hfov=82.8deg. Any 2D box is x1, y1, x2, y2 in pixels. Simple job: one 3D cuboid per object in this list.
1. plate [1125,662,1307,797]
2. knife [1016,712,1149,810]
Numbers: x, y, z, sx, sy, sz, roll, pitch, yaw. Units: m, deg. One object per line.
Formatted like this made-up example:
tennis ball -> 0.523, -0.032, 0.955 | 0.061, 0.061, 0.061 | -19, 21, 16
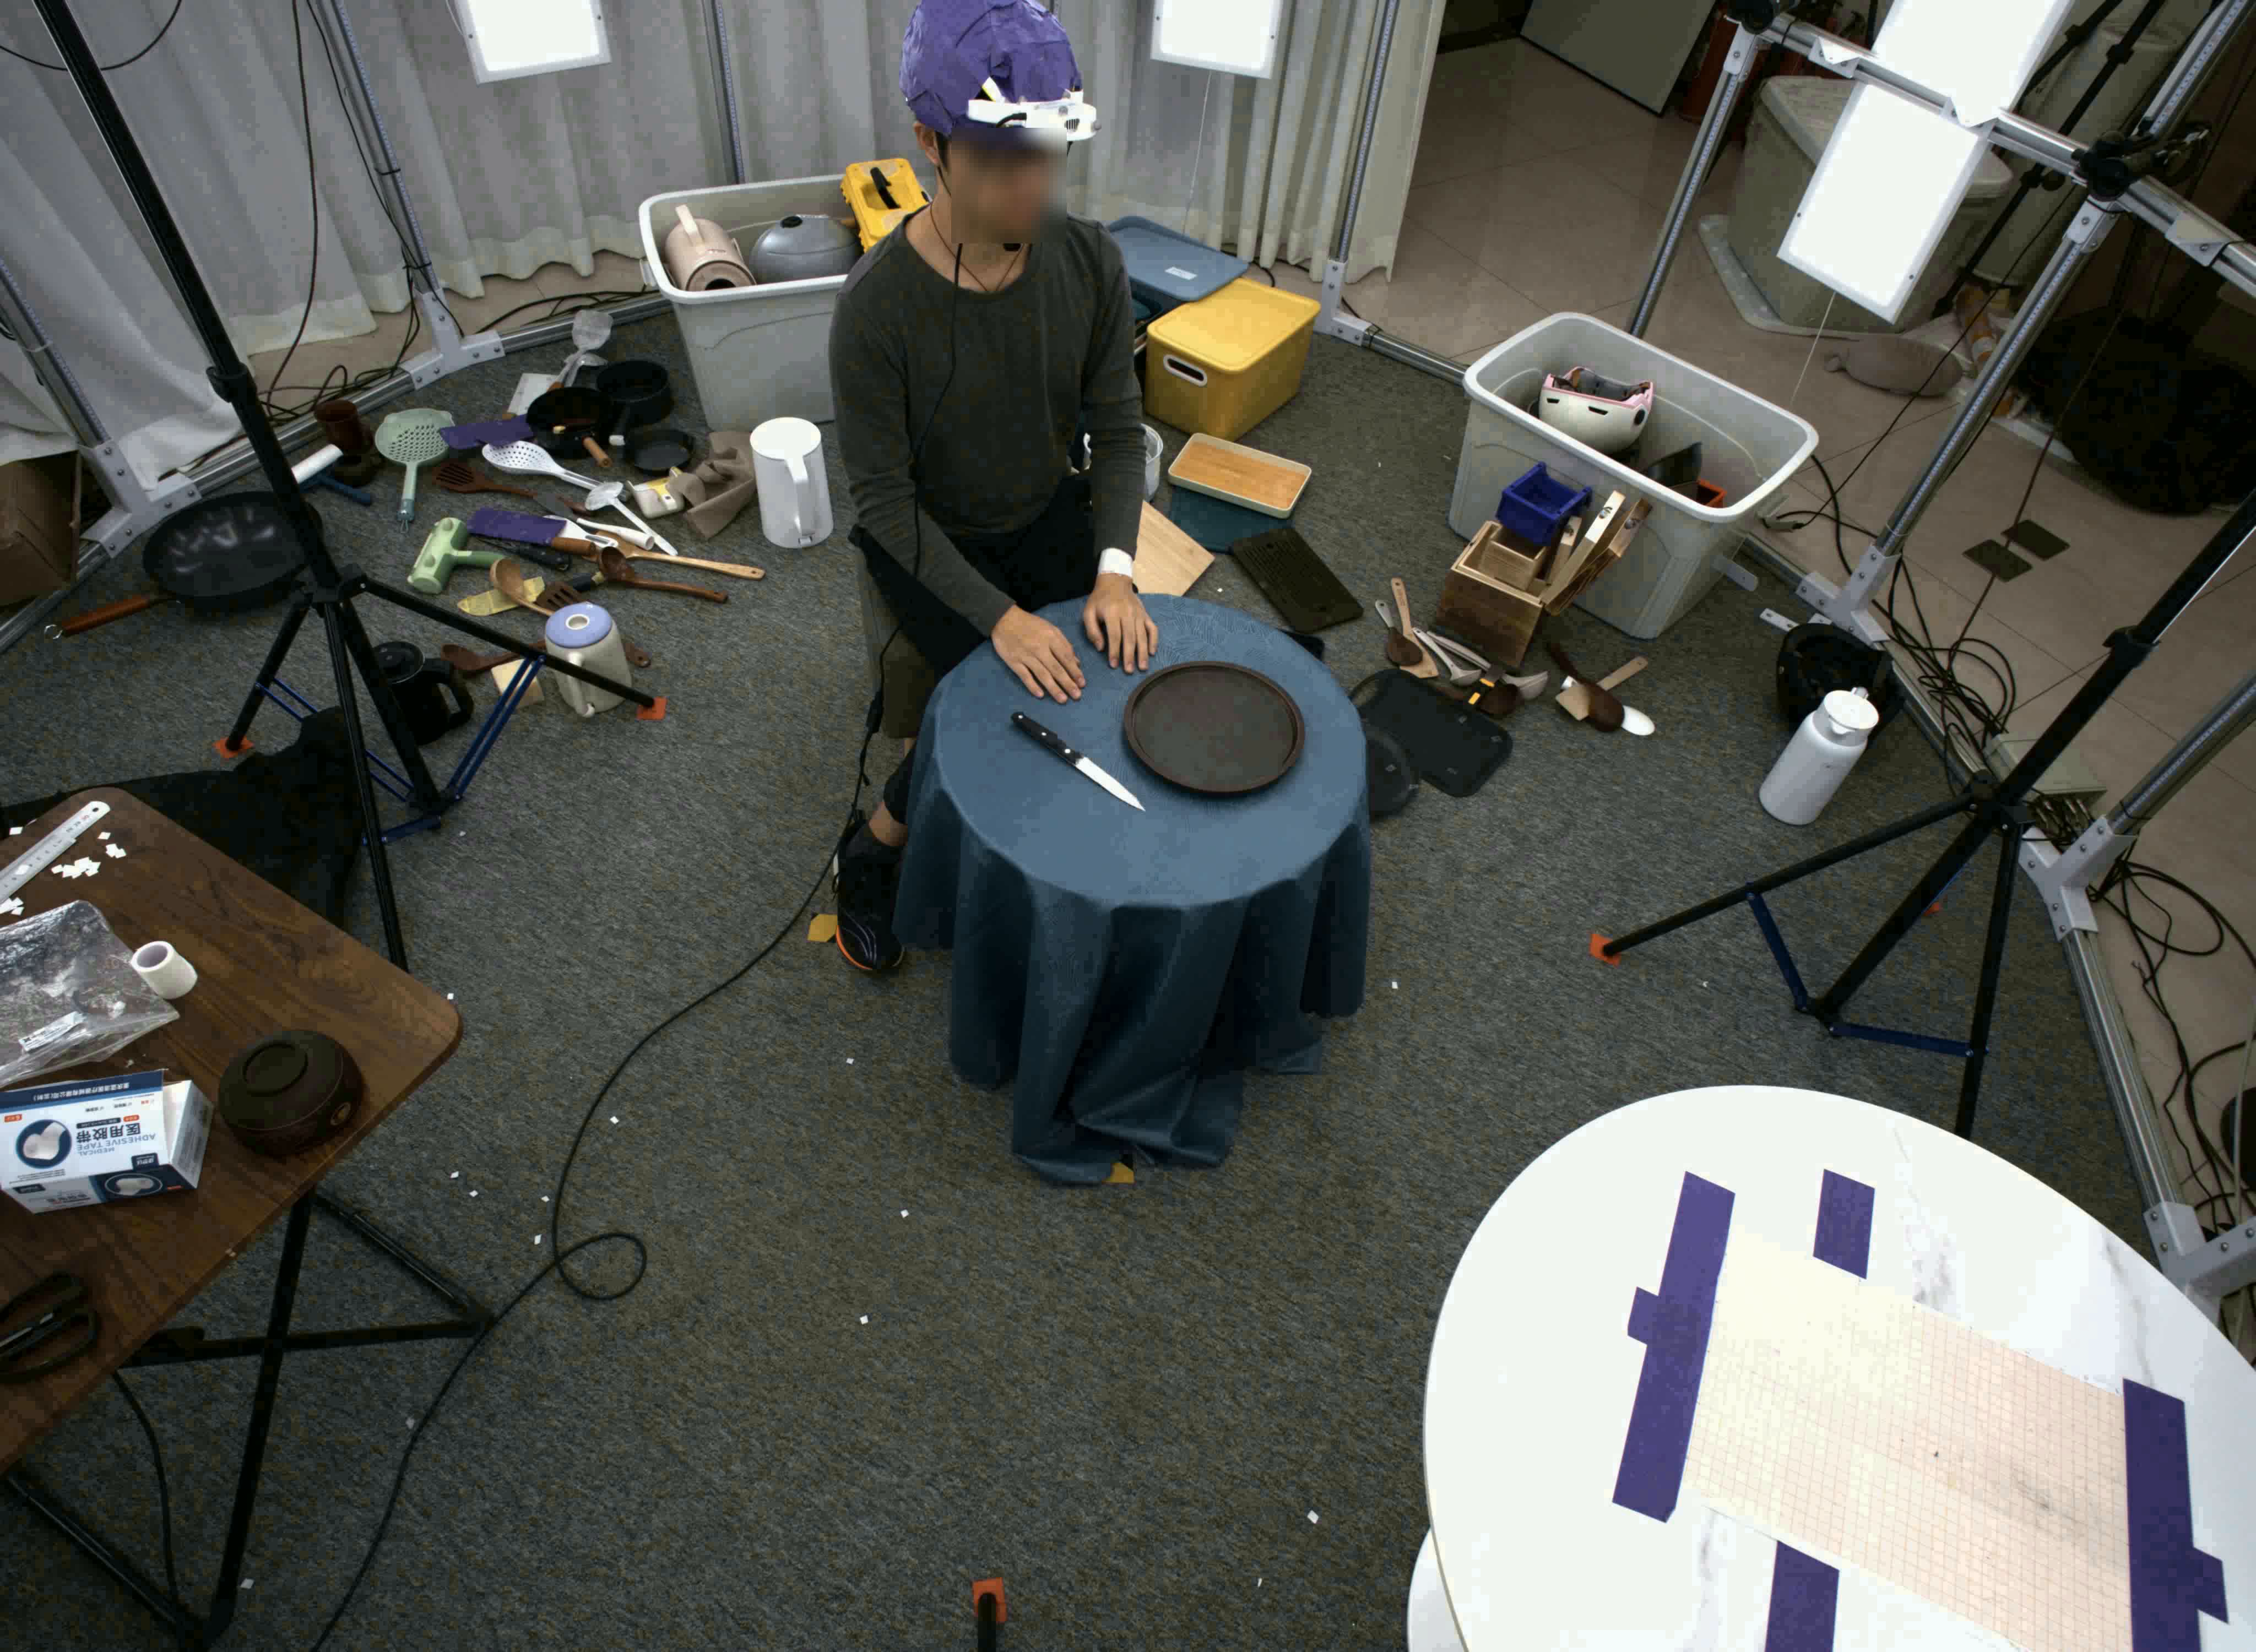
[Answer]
plate -> 0.120, -0.136, 1.778 | 0.254, 0.028, 0.261 | 2, 50, -3
knife -> -0.065, -0.086, 1.730 | 0.241, 0.016, 0.025 | 36, 59, 21
